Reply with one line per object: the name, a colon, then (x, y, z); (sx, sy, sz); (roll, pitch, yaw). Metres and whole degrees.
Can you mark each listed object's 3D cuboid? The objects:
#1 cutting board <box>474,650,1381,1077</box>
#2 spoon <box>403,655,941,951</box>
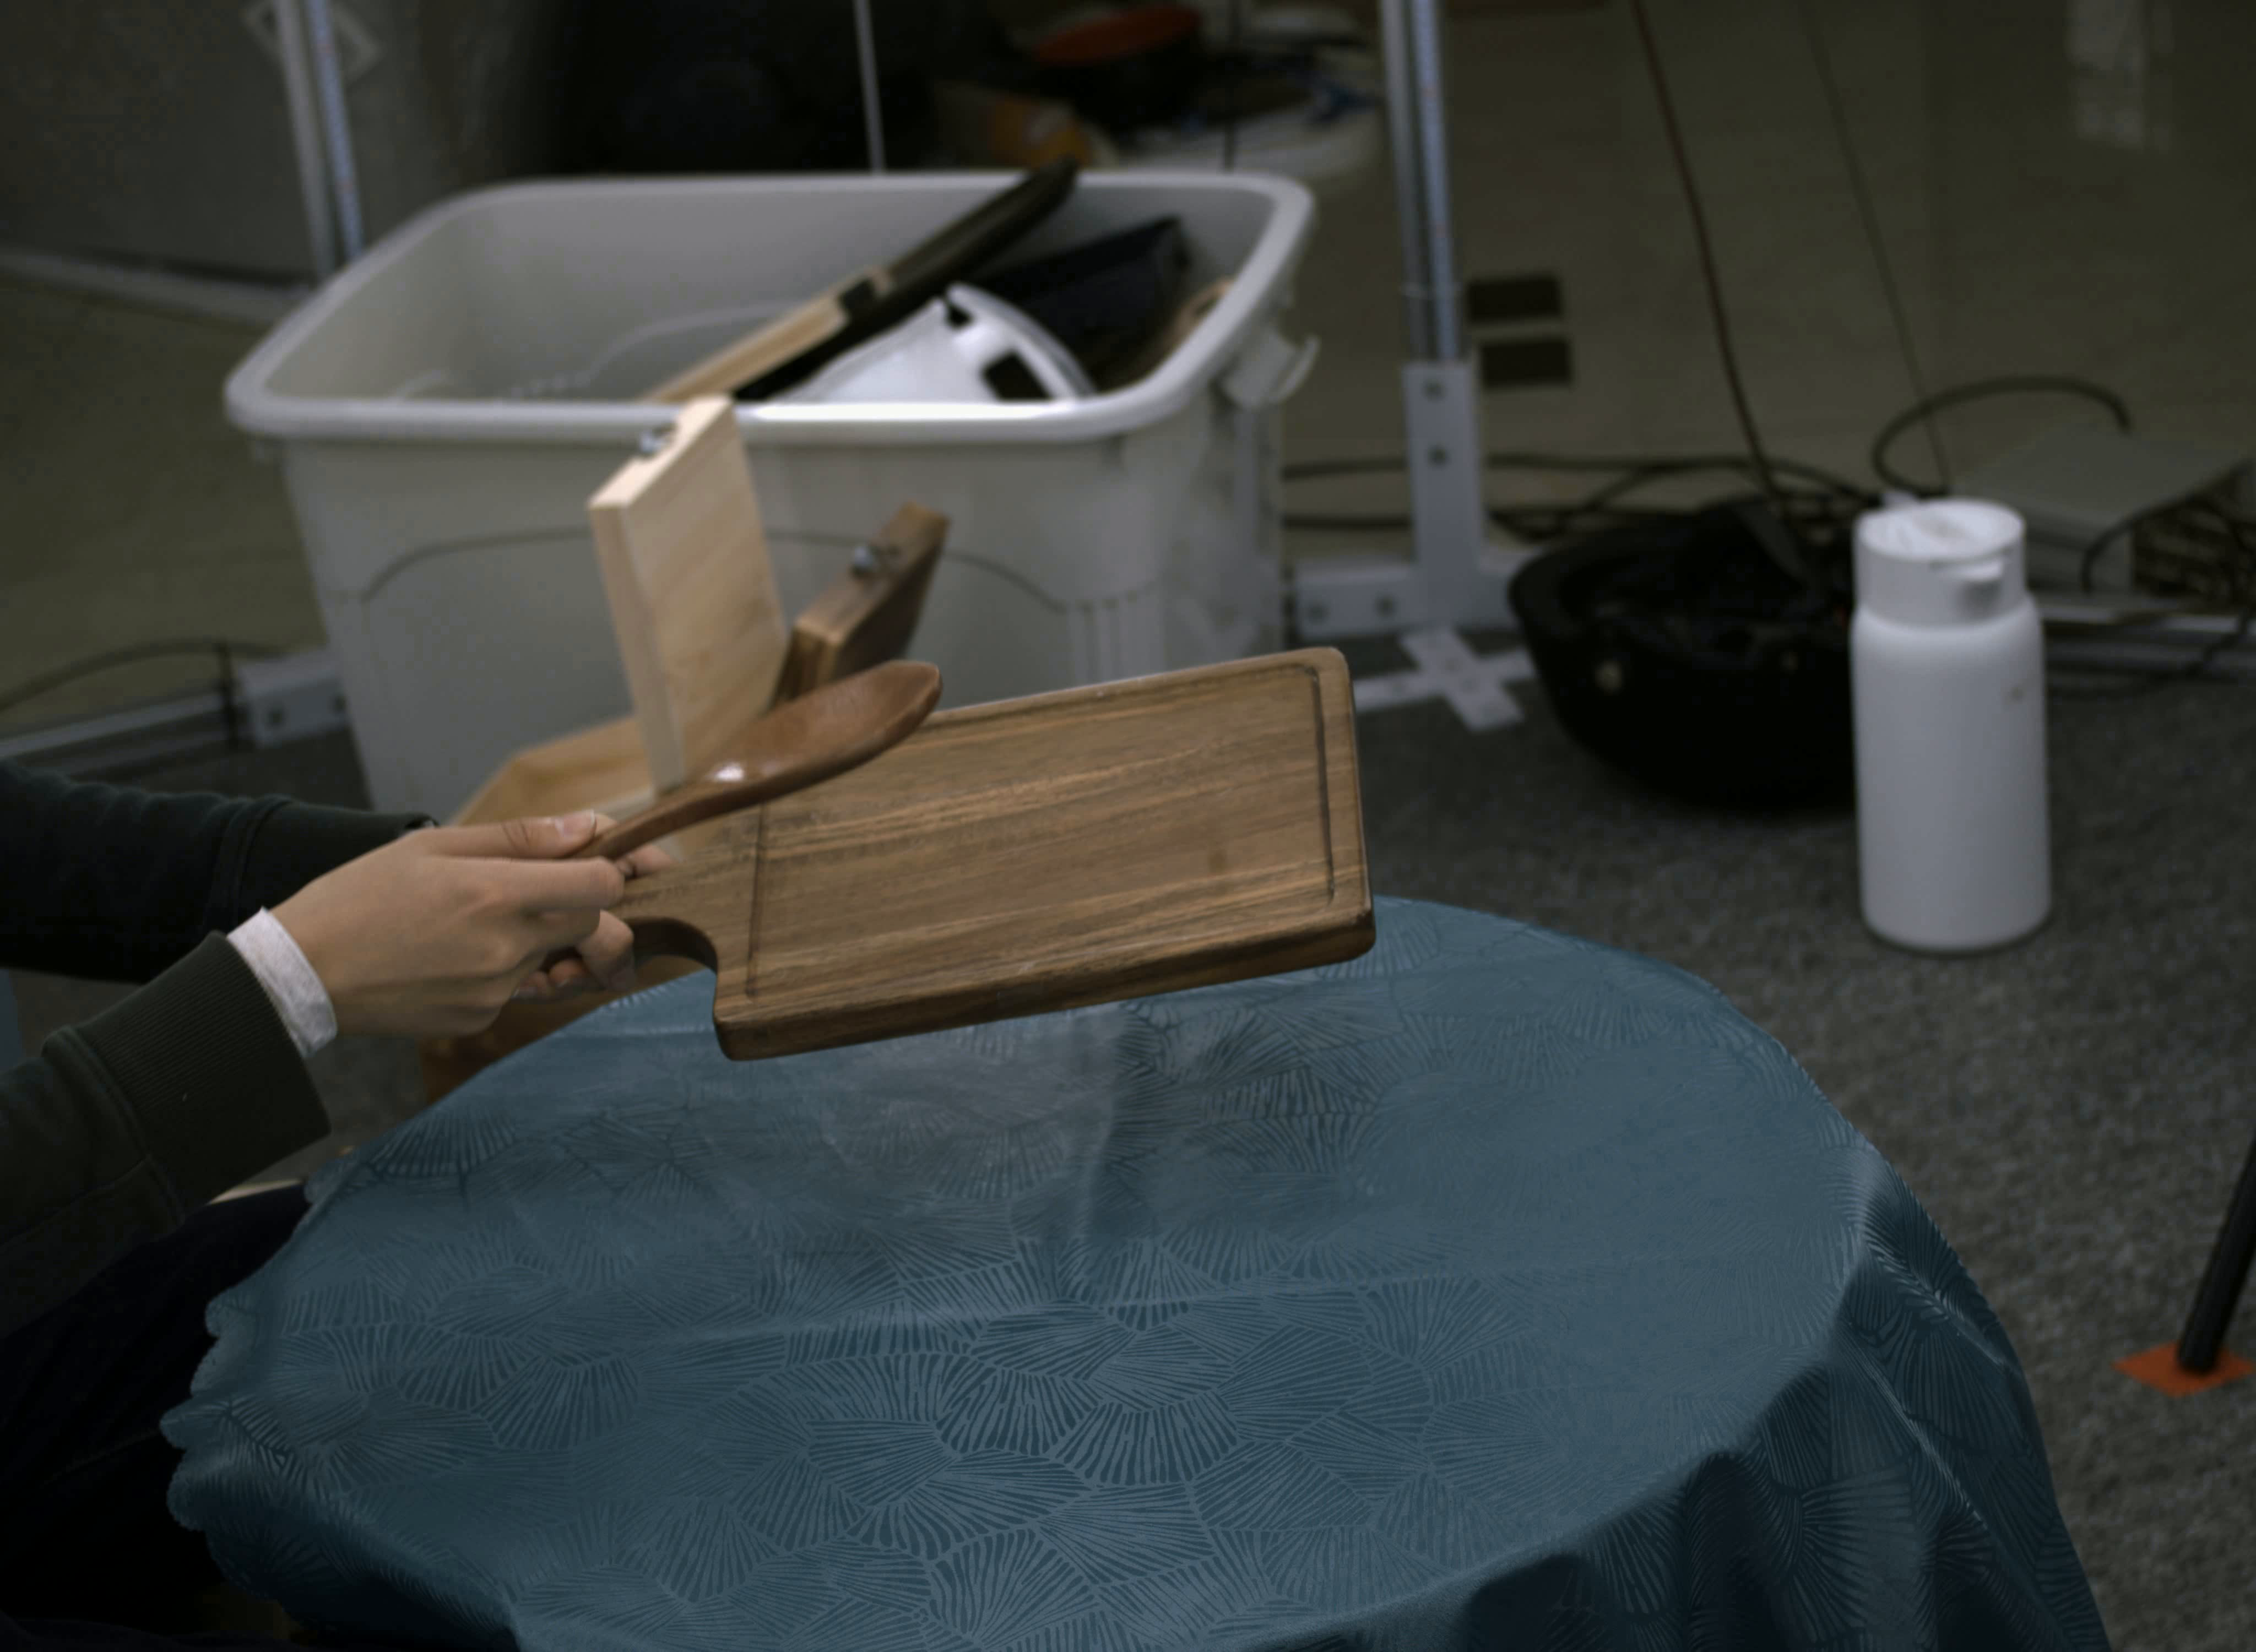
cutting board: (-0.081, 0.020, 2.188); (0.352, 0.023, 0.197); (-10, 35, 6)
spoon: (-0.162, -0.008, 2.034); (0.215, 0.017, 0.074); (-27, 26, -12)
